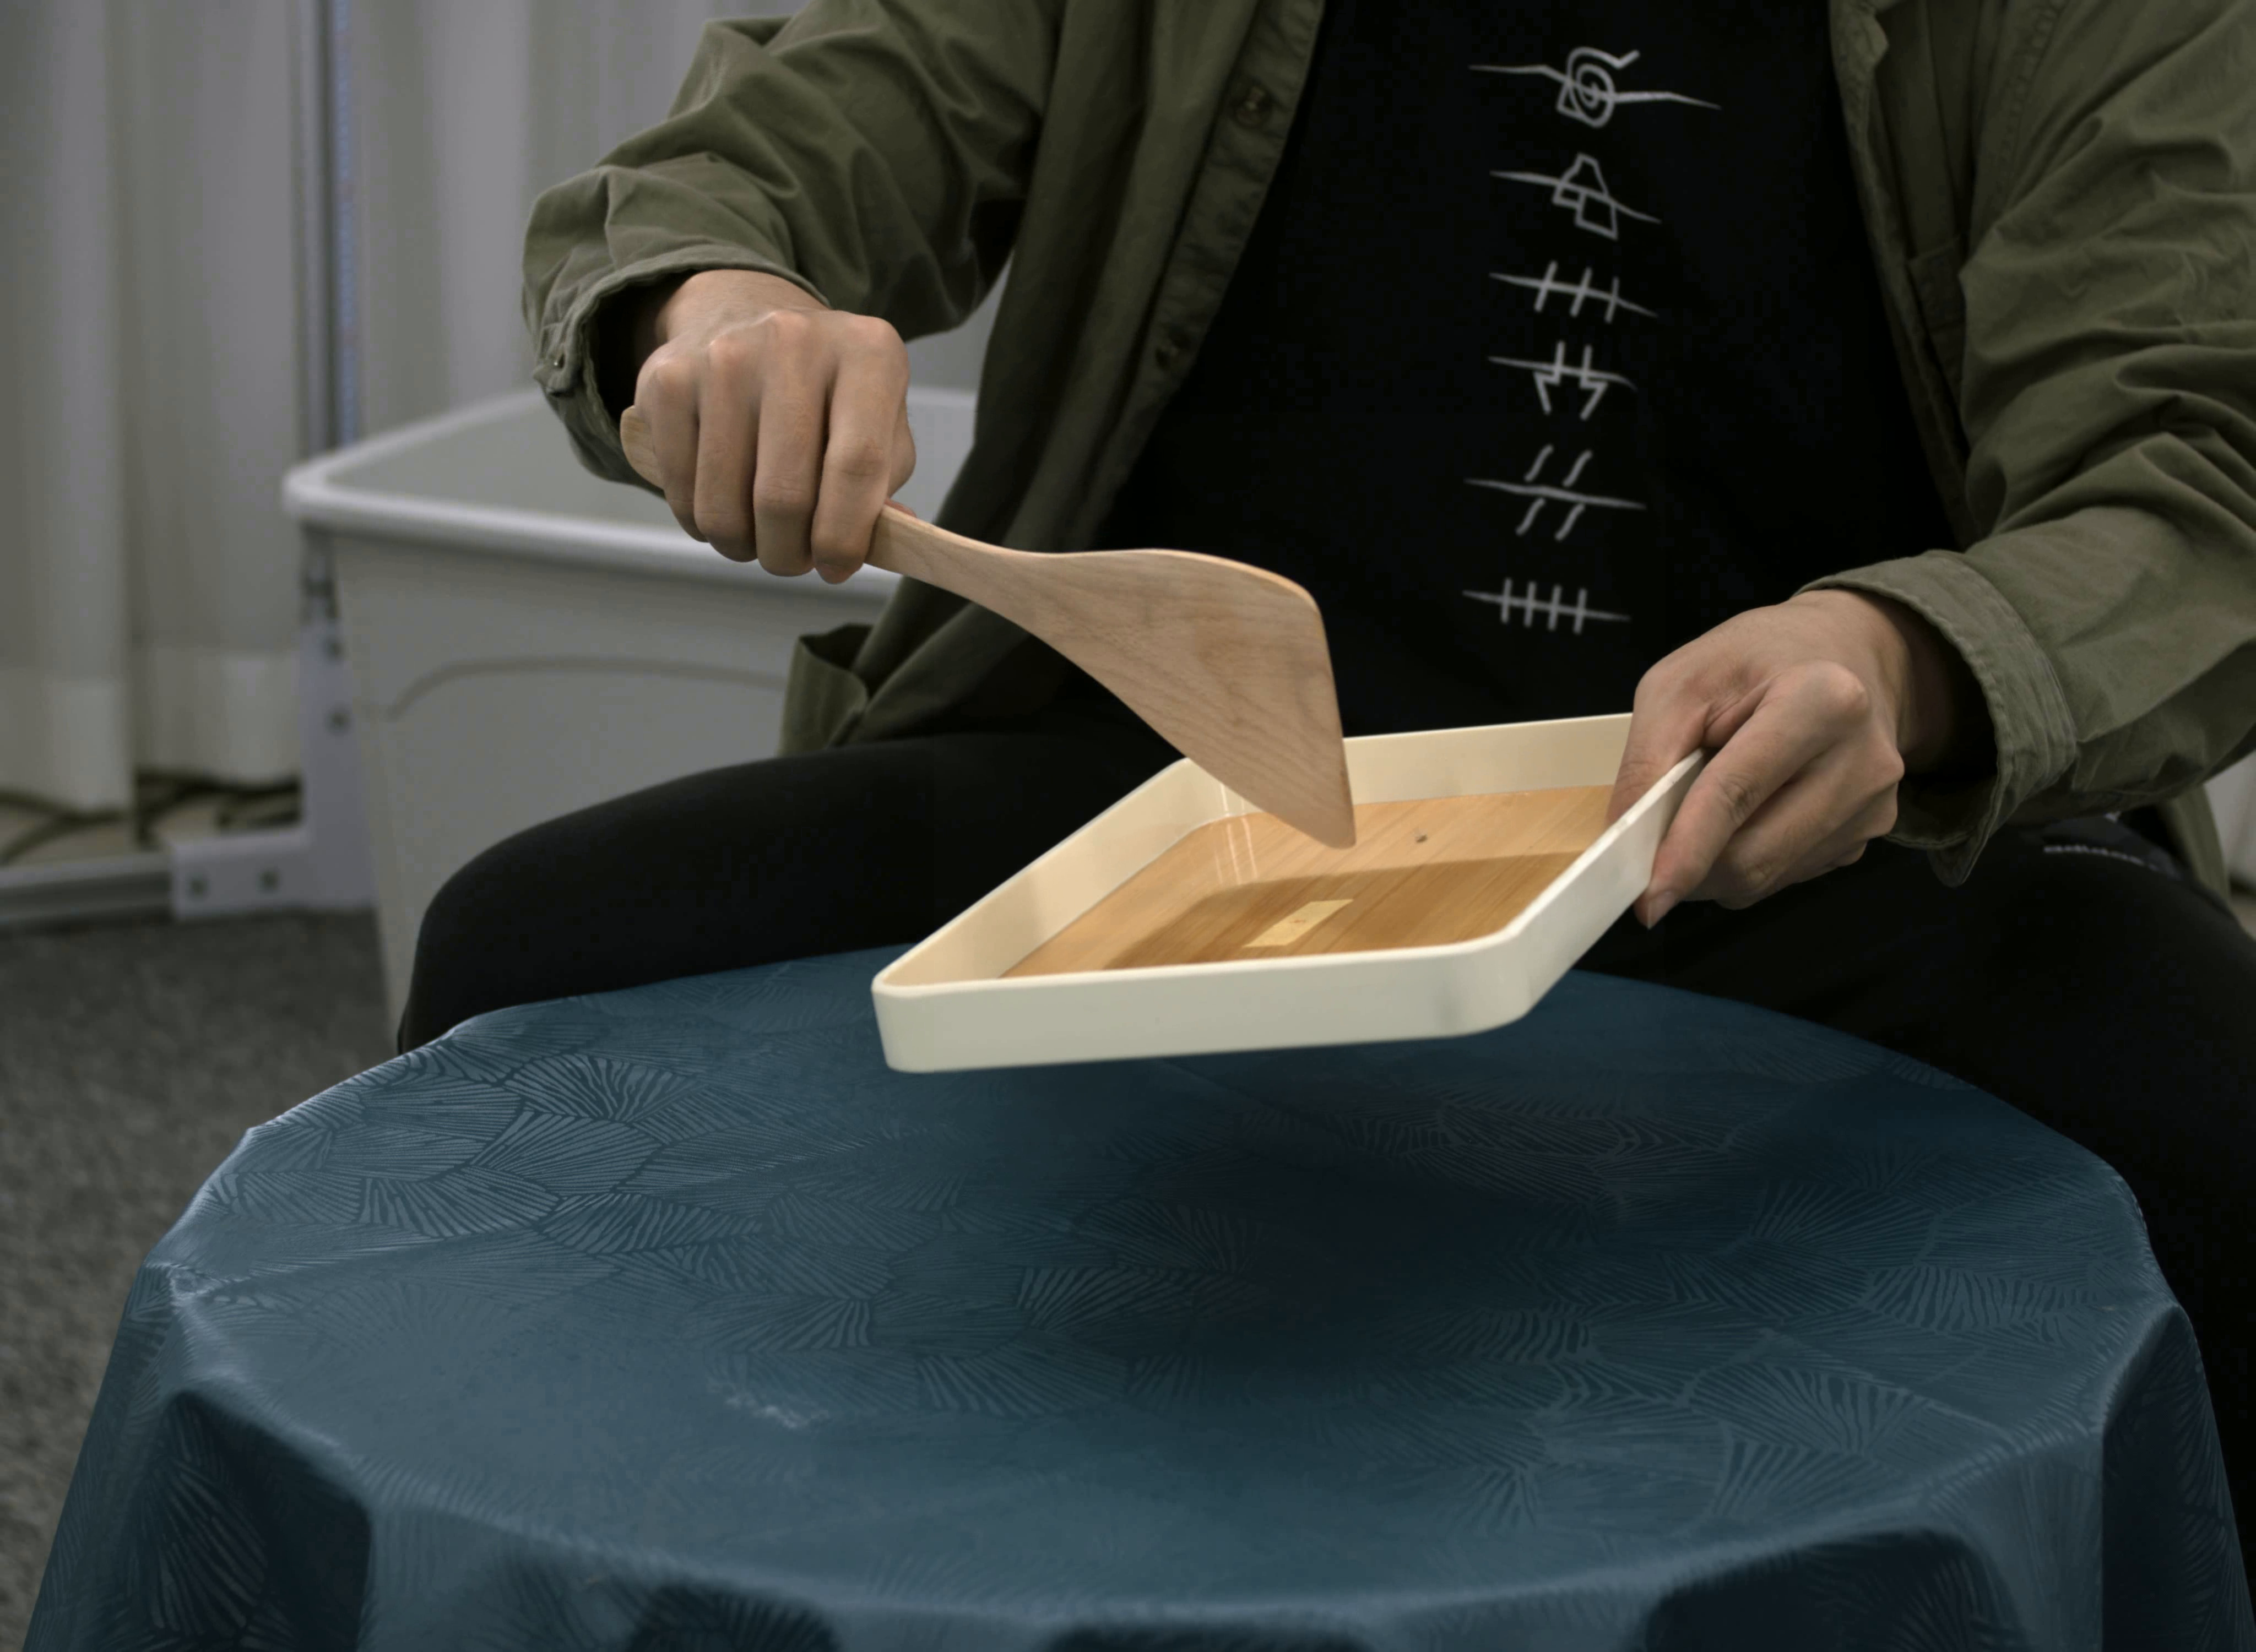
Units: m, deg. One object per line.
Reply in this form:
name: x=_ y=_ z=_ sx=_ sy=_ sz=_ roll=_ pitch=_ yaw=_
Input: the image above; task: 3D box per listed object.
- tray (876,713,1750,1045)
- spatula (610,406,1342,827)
tray: x=0.063 y=0.013 z=1.572 sx=0.190 sy=0.027 sz=0.300 roll=-4 pitch=11 yaw=21
spatula: x=-0.052 y=-0.079 z=1.583 sx=0.323 sy=0.081 sz=0.016 roll=21 pitch=37 yaw=39
